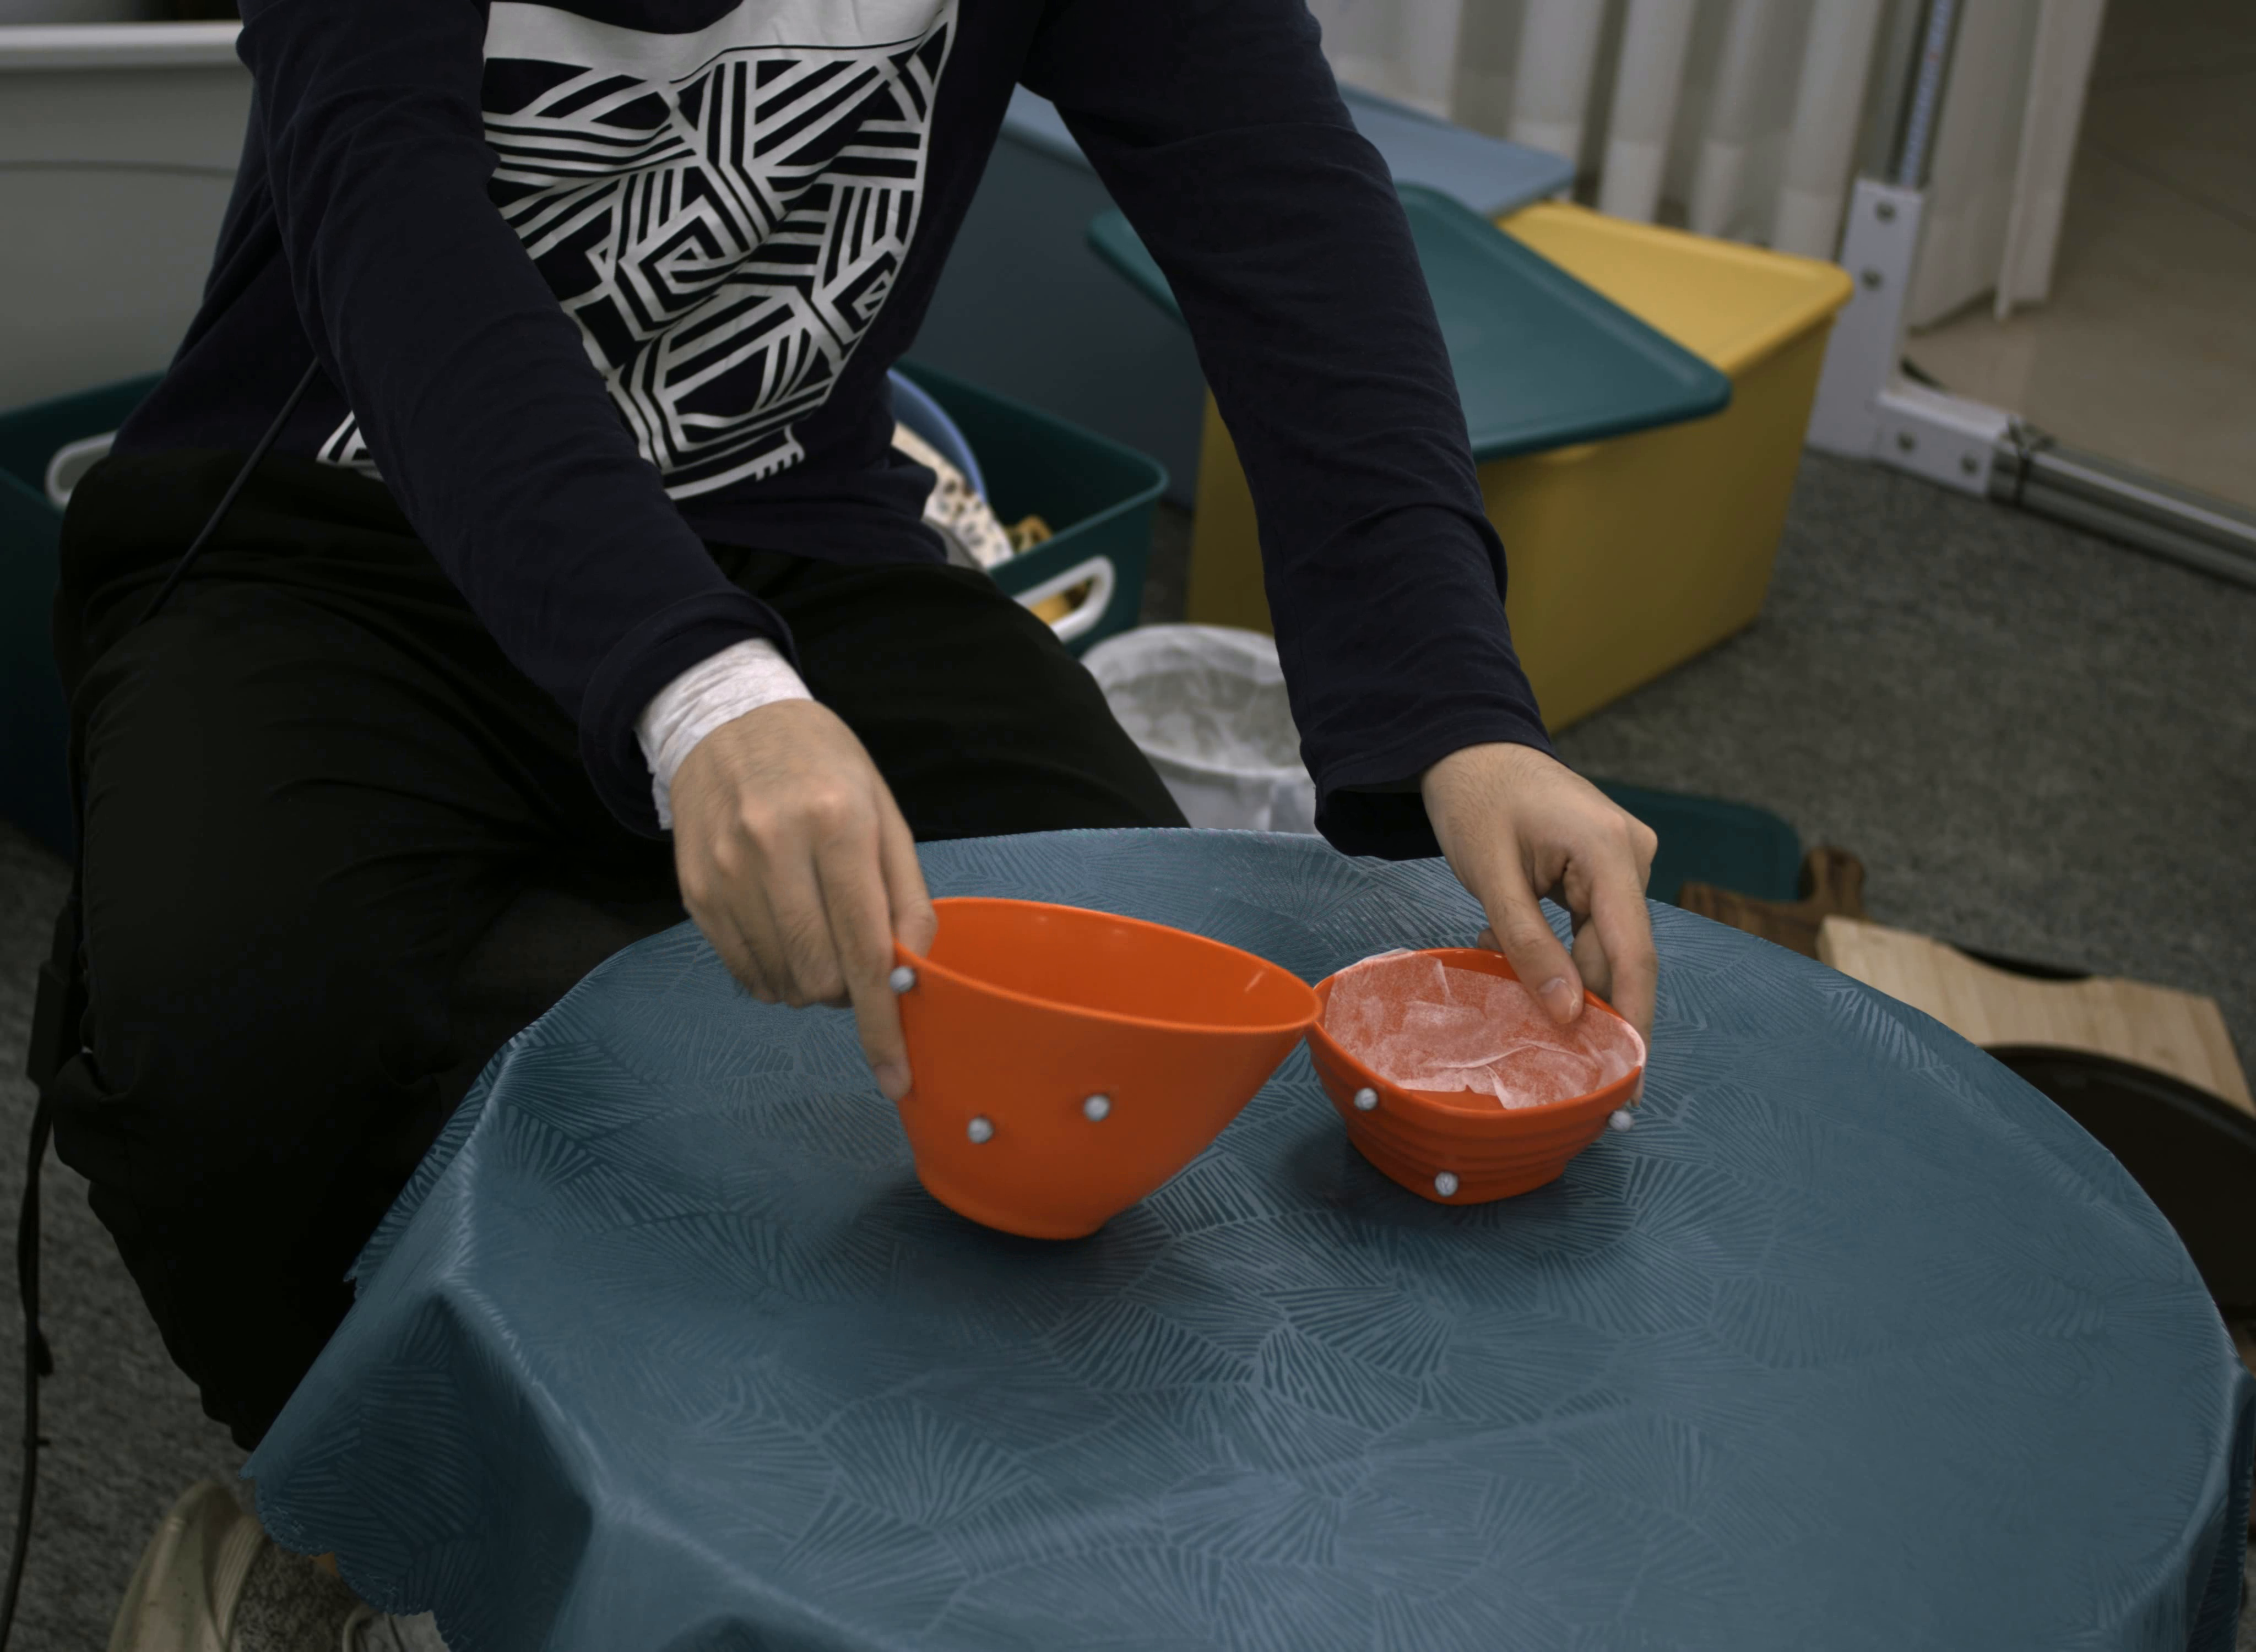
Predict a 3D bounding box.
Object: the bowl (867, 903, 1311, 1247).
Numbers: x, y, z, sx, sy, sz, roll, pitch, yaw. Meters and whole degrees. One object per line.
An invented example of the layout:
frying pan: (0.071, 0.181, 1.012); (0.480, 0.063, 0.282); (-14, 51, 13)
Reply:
bowl: (-0.023, 0.084, 1.757); (0.147, 0.104, 0.149); (14, 19, -5)

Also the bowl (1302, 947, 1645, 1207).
bowl: (0.117, 0.091, 1.842); (0.118, 0.051, 0.119); (3, 27, -2)
